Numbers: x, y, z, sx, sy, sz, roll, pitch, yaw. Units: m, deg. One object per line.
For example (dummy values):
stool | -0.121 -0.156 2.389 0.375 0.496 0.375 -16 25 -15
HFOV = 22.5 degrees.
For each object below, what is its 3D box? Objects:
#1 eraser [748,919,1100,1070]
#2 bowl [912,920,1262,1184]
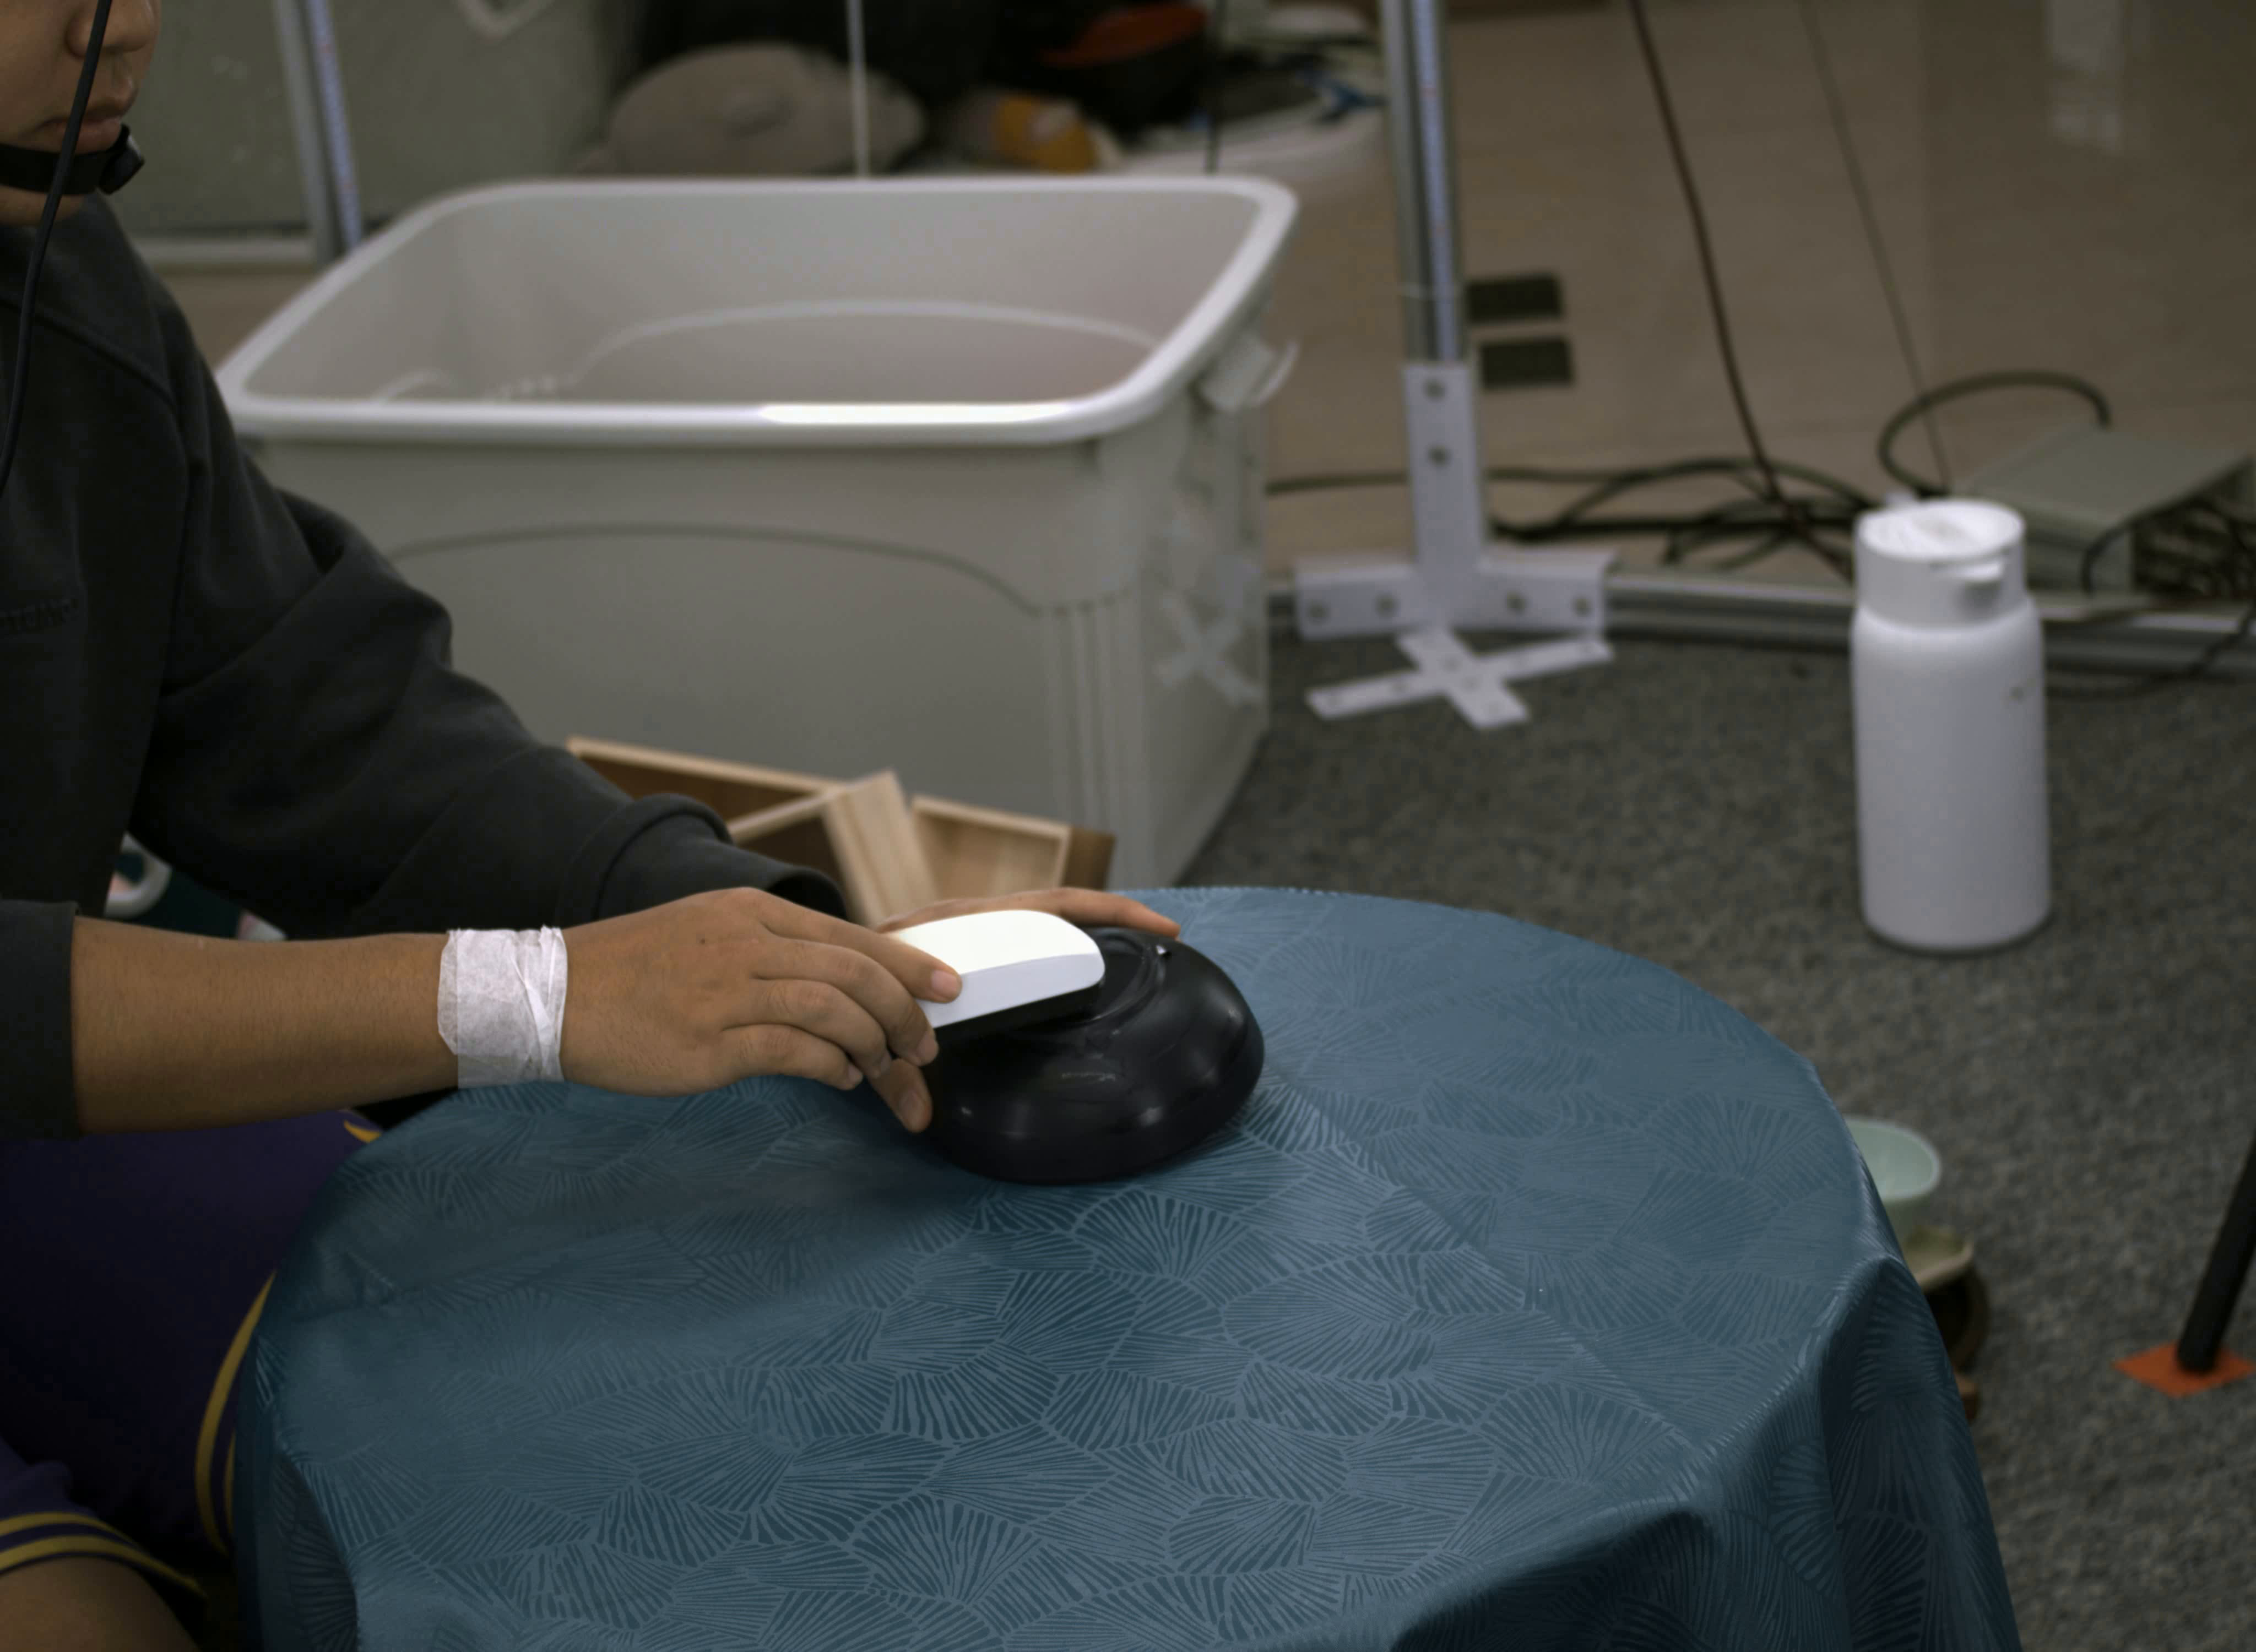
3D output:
eraser | -0.077 0.060 2.150 0.131 0.035 0.063 -11 19 -24
bowl | -0.020 0.077 2.197 0.140 0.051 0.137 -8 35 6
